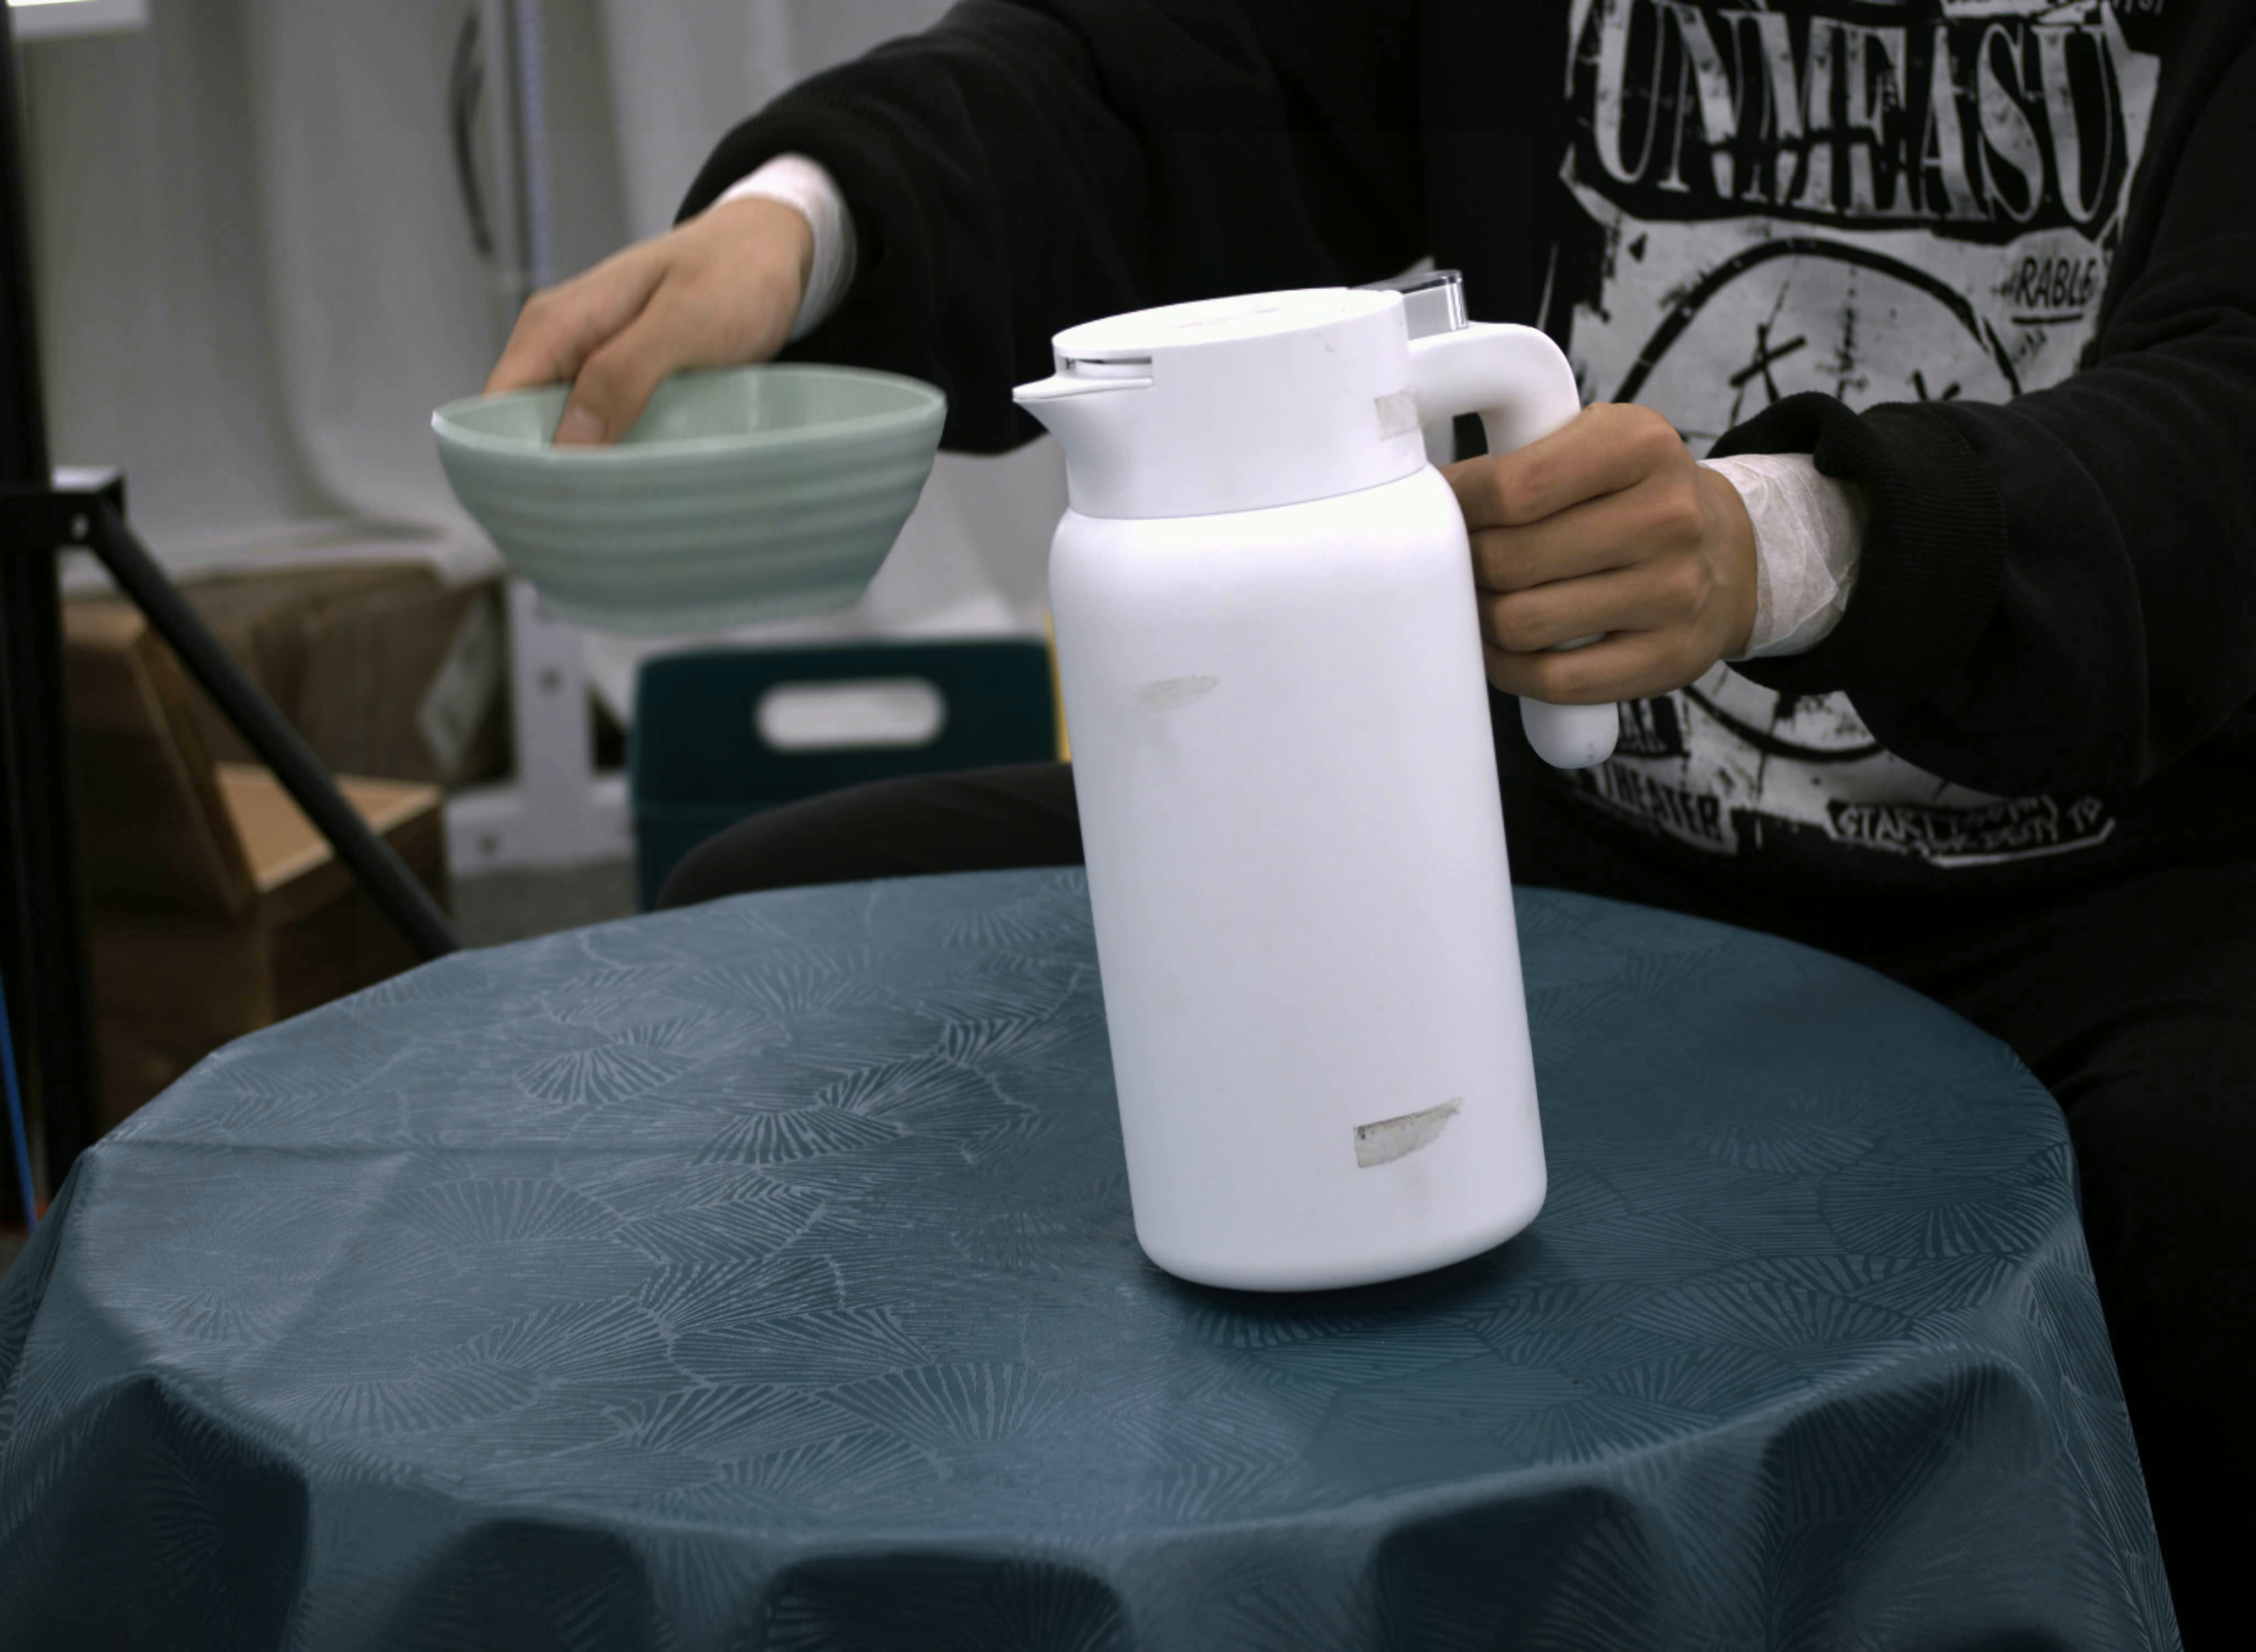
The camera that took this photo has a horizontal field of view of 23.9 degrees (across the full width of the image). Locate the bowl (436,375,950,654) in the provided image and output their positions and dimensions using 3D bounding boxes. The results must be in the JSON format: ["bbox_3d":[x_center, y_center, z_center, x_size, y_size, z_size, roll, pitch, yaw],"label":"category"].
[{"bbox_3d":[-0.123,-0.088,1.525,0.151,0.058,0.152,-4,13,-1],"label":"bowl"}]

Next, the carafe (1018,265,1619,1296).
[{"bbox_3d":[0.059,-0.016,1.477,0.169,0.269,0.126,-14,10,-29],"label":"carafe"}]
